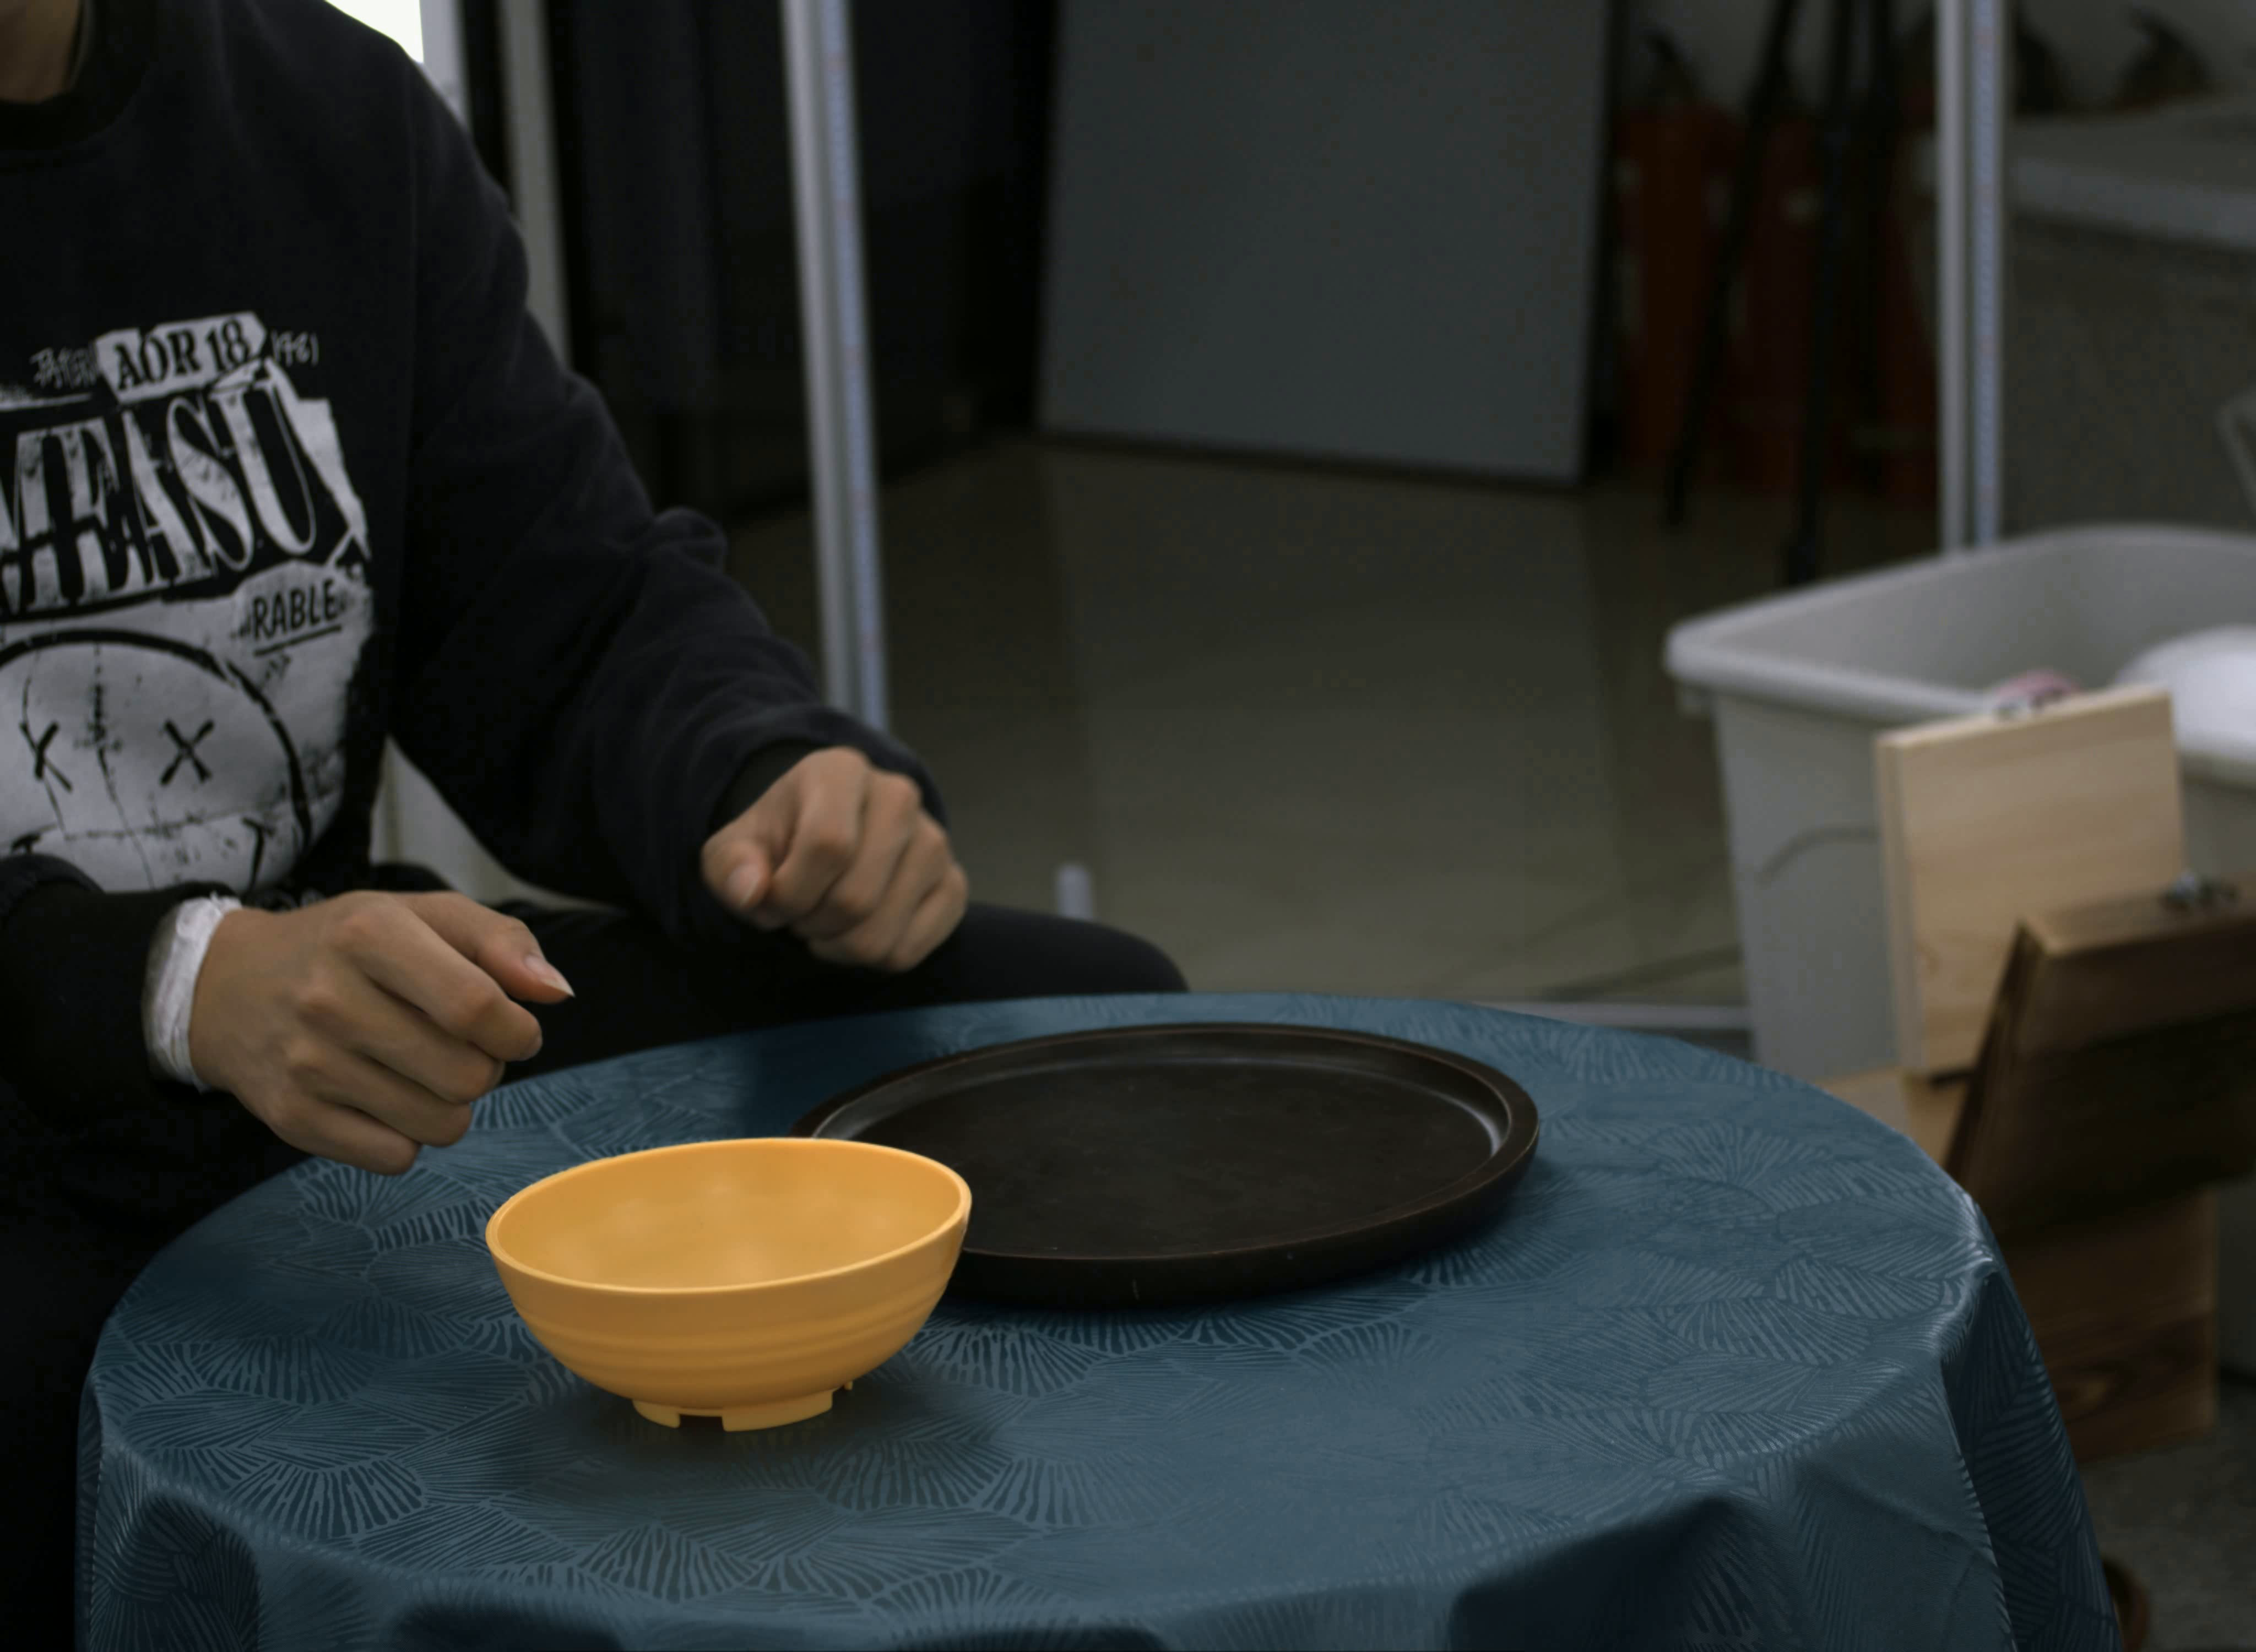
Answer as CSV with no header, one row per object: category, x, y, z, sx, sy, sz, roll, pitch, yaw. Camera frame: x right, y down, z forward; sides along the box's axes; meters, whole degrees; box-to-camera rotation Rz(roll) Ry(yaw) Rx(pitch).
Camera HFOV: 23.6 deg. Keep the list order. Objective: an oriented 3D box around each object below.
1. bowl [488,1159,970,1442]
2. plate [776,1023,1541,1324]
bowl,-0.115,0.144,1.598,0.143,0.061,0.145,-4,11,0
plate,0.010,0.111,1.763,0.251,0.029,0.255,-6,14,1
